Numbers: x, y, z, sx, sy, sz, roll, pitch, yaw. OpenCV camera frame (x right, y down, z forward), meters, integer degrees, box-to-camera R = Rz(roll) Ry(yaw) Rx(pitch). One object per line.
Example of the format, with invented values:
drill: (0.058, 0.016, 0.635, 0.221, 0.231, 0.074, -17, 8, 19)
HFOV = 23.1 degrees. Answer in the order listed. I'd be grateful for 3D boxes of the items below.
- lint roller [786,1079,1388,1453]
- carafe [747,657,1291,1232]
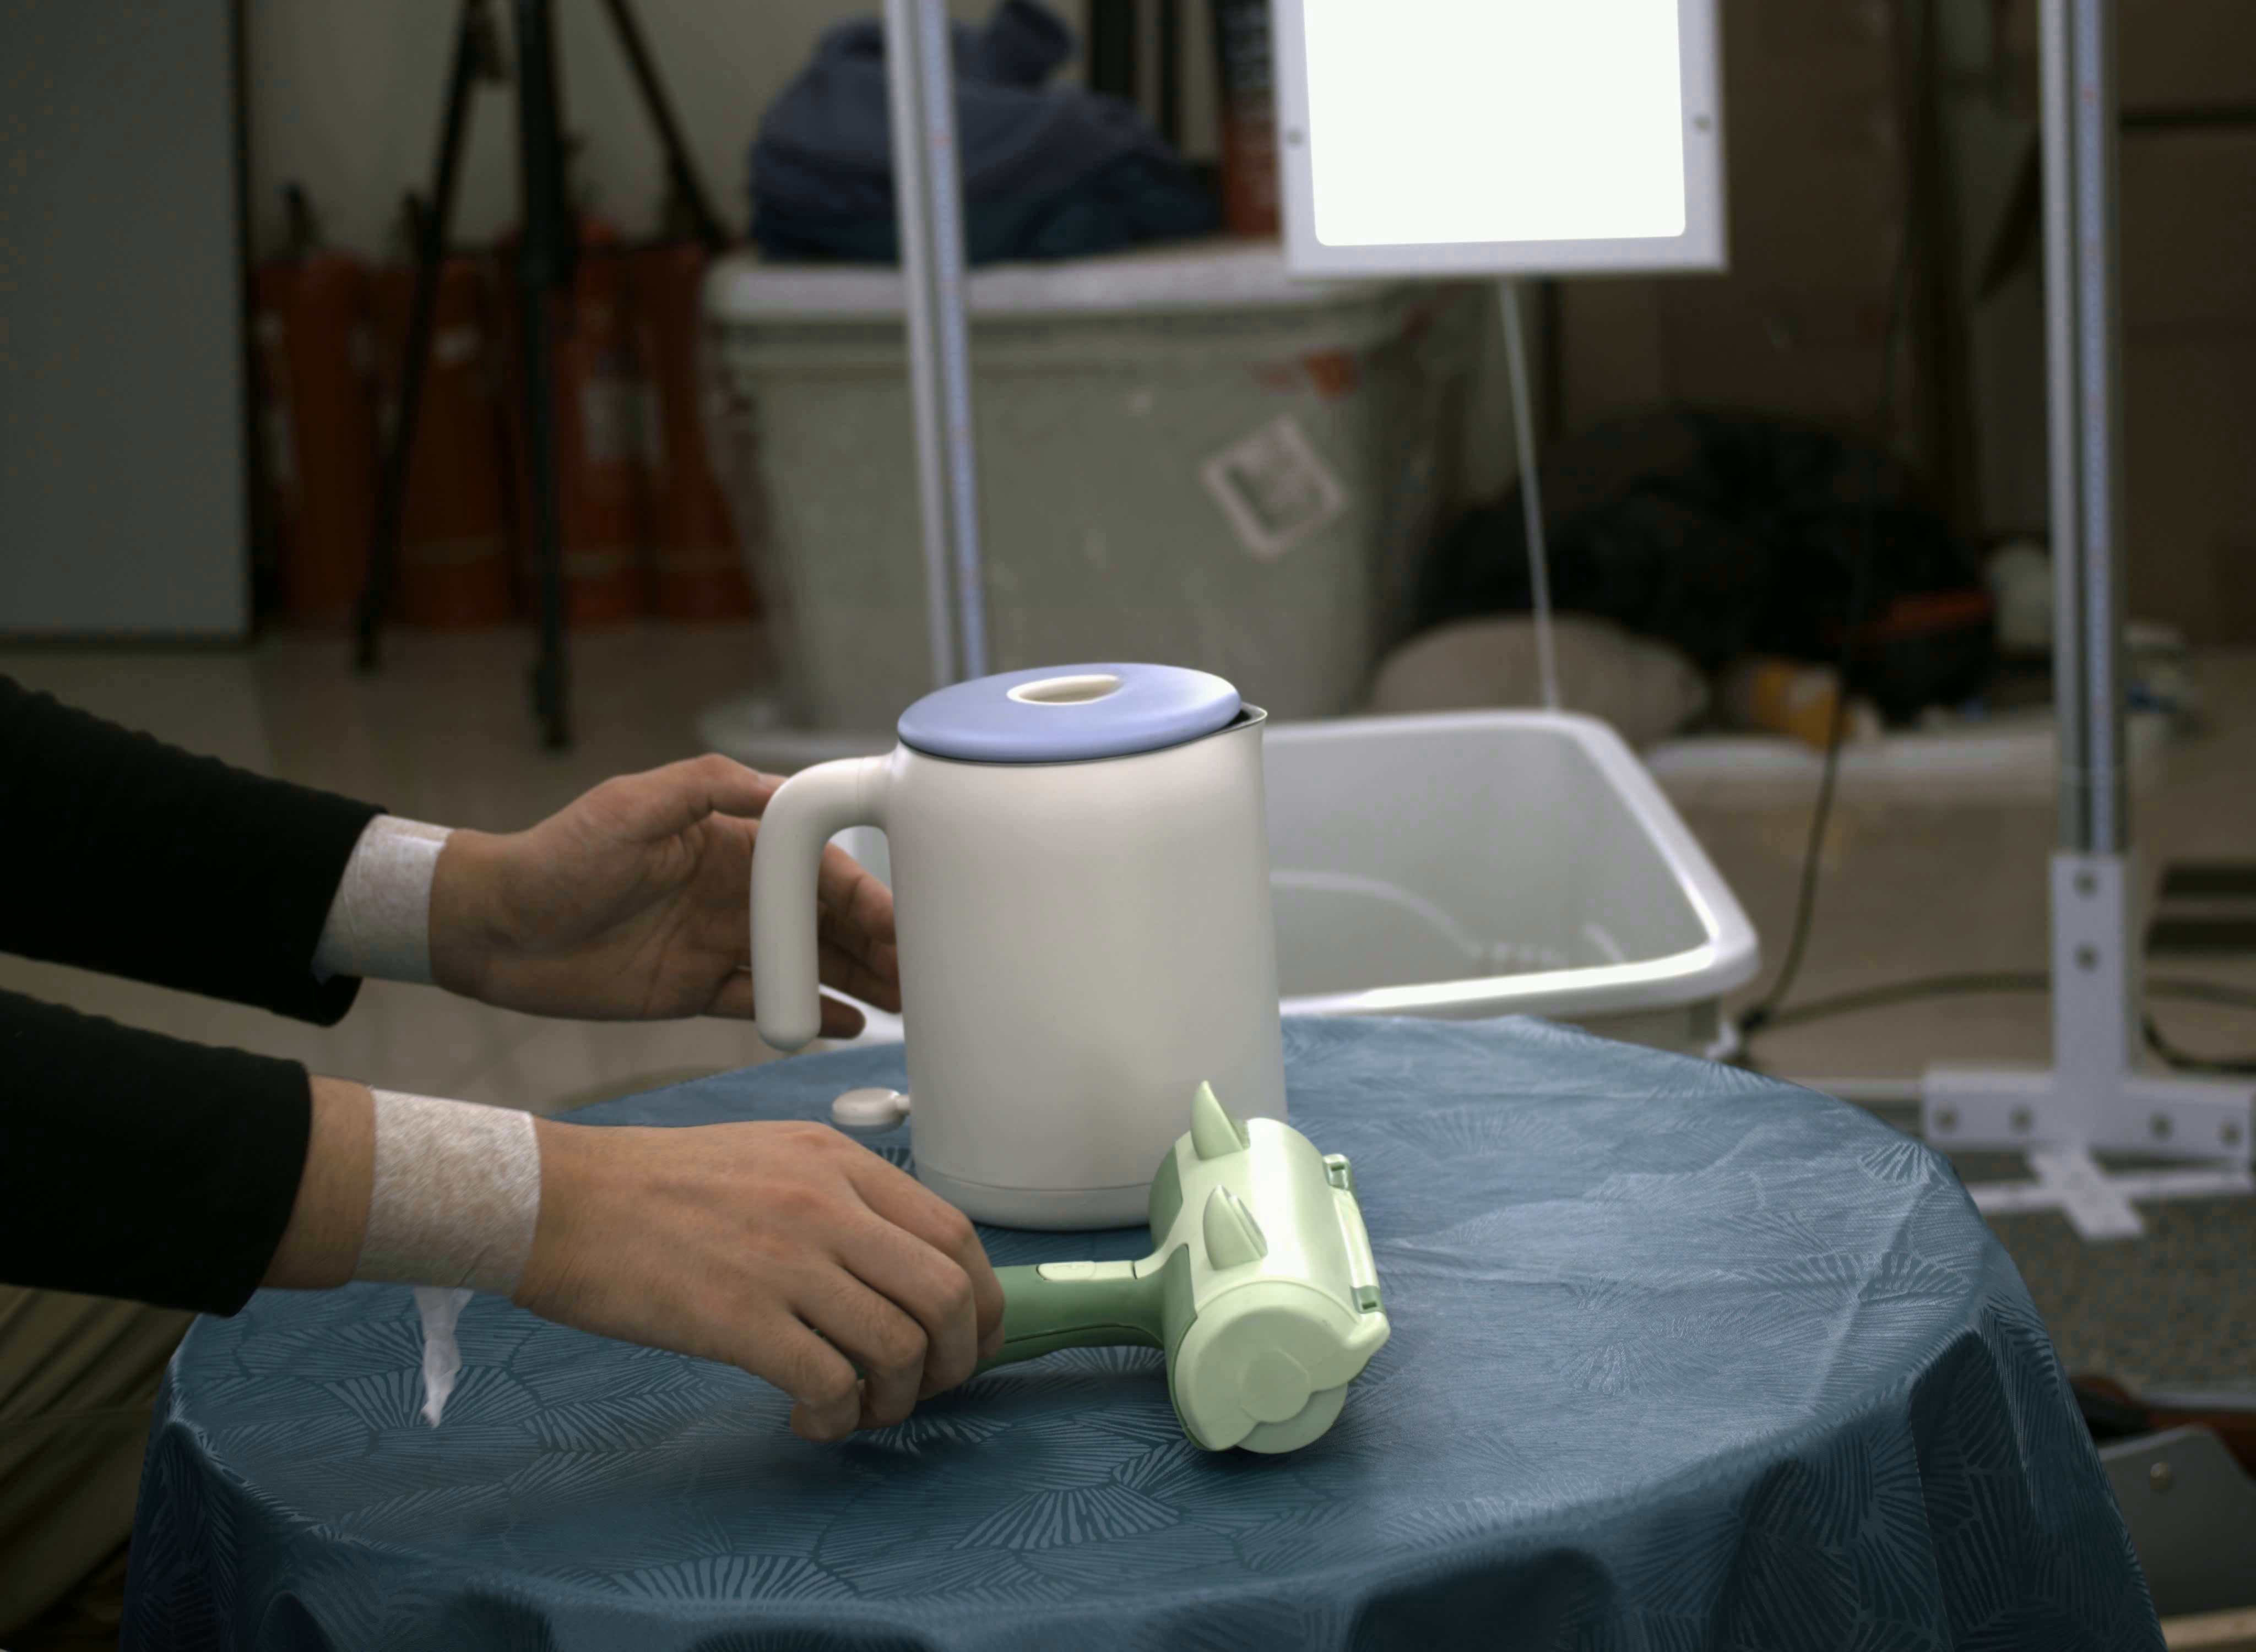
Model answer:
lint roller: (-0.016, 0.135, 1.708, 0.183, 0.082, 0.198, -2, 13, 0)
carafe: (-0.038, 0.041, 1.899, 0.192, 0.183, 0.131, -4, 13, 11)
